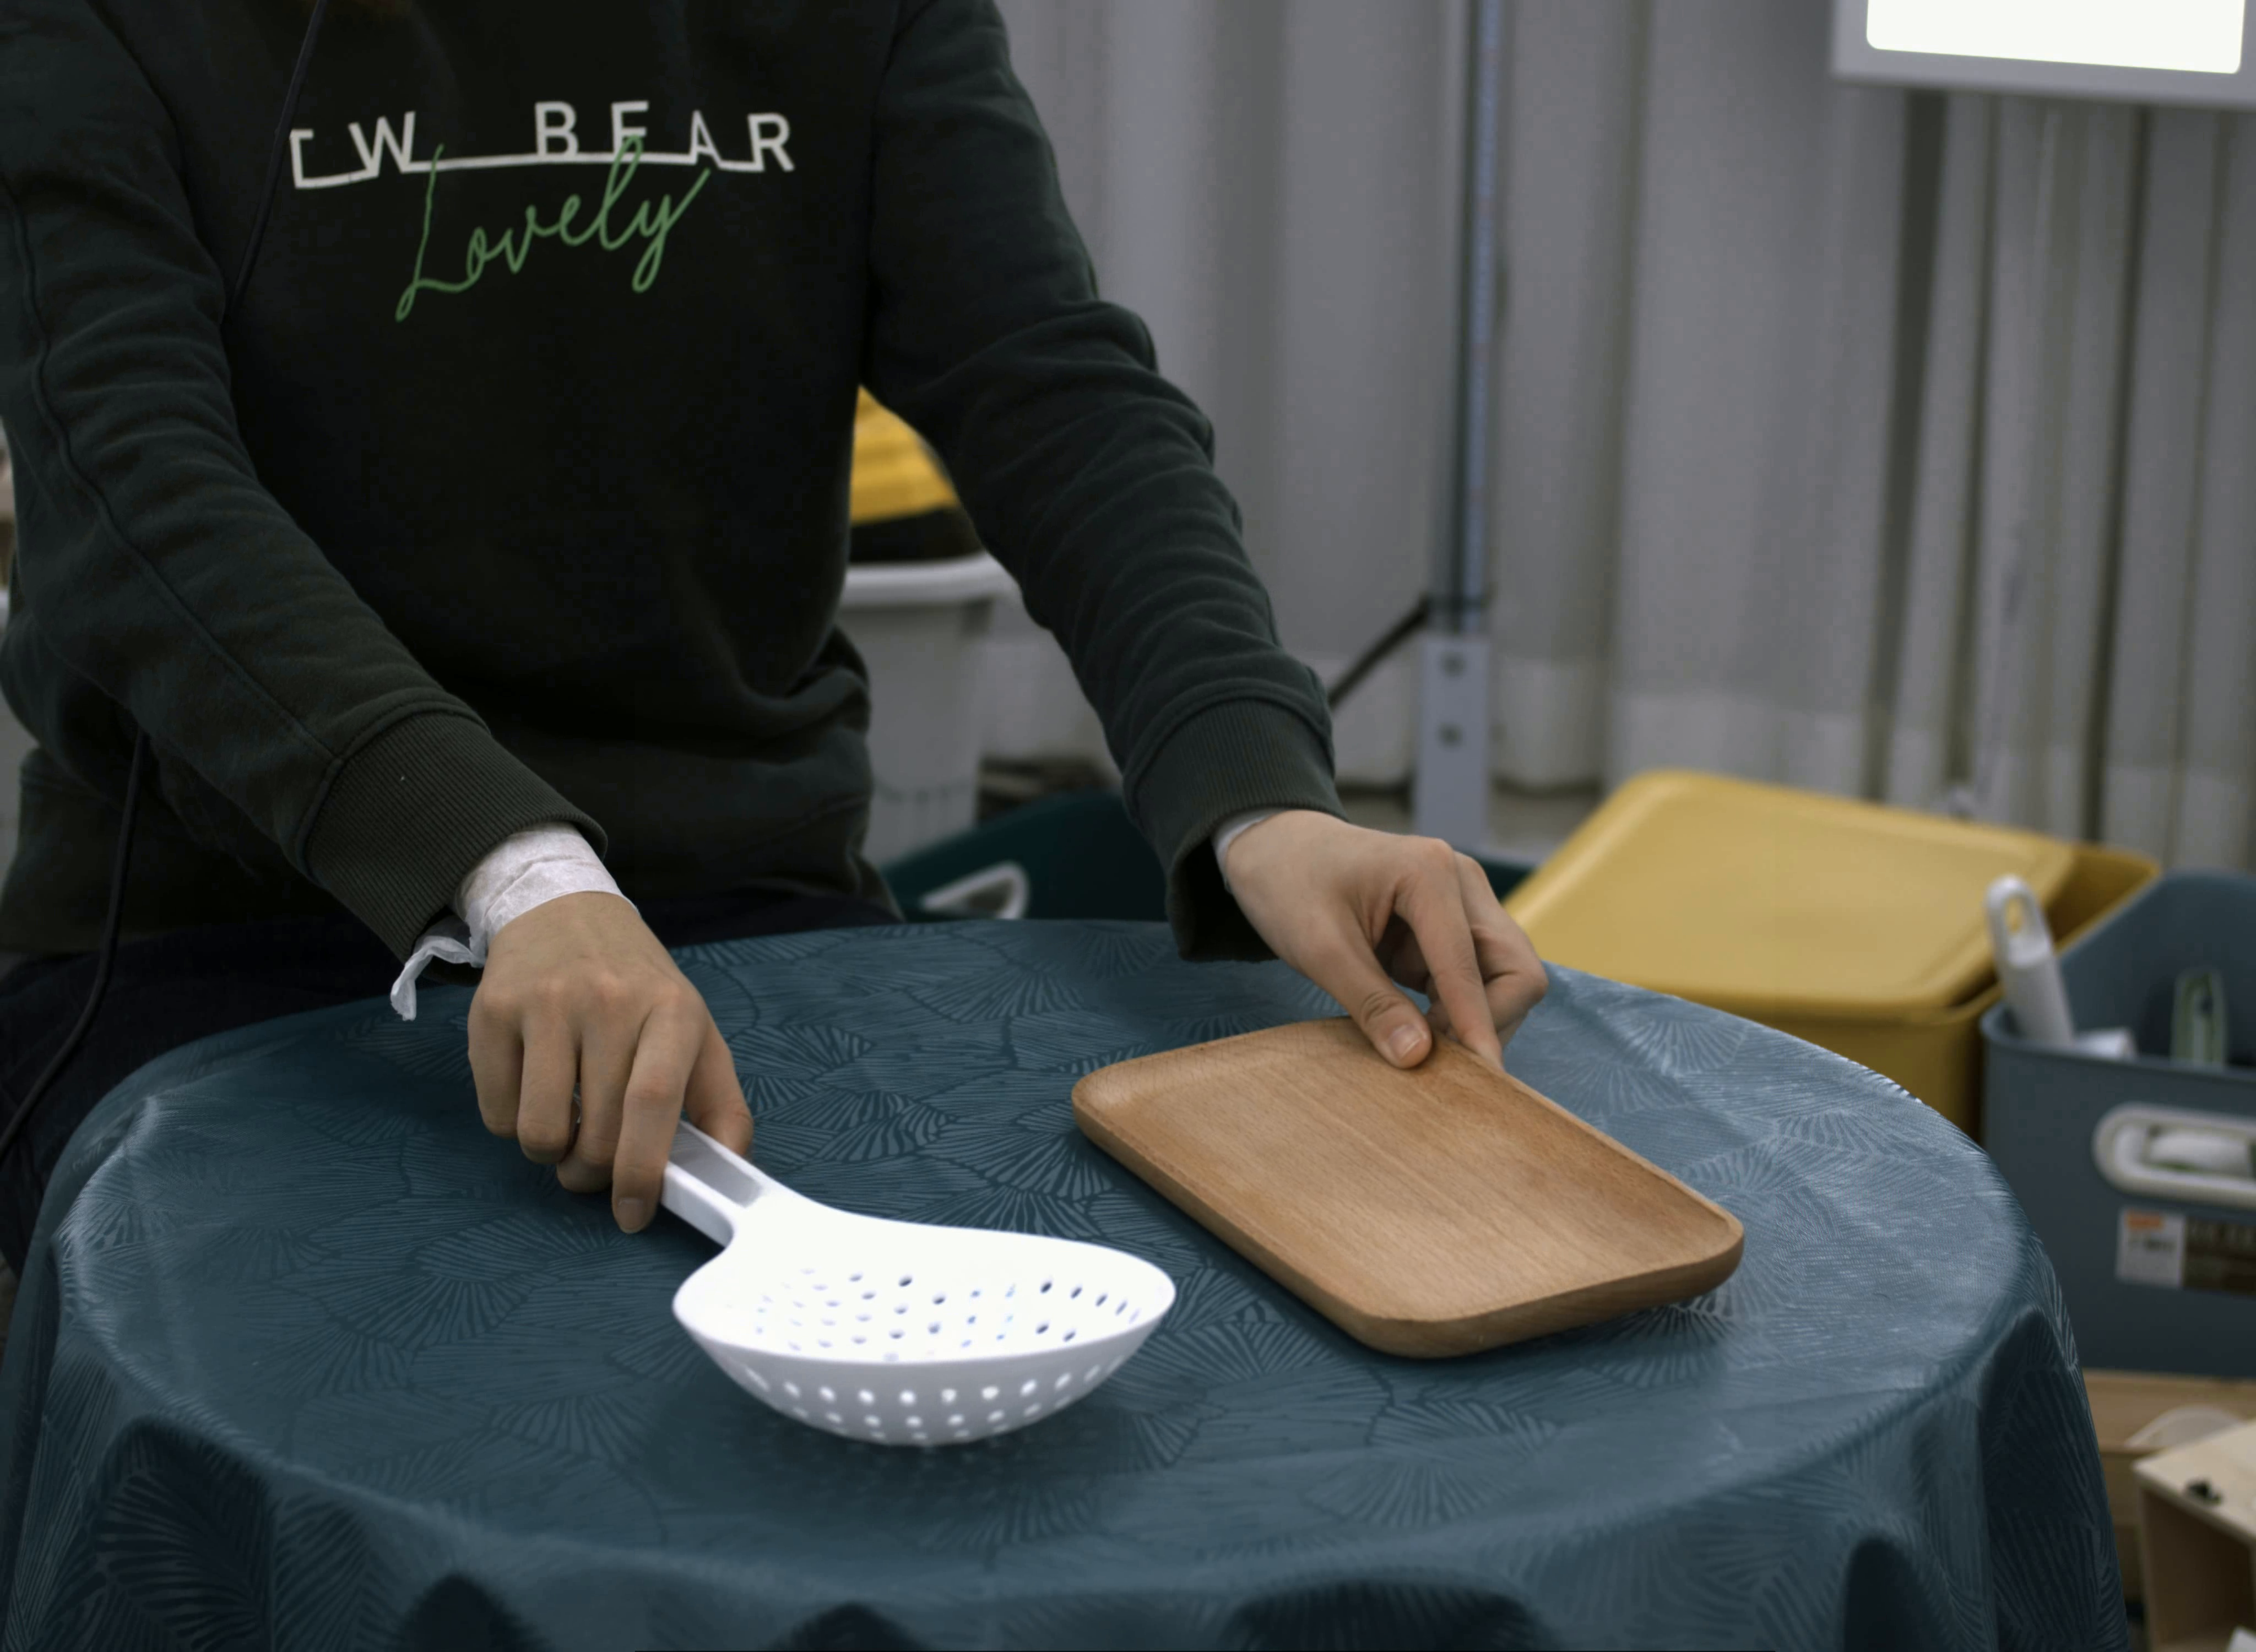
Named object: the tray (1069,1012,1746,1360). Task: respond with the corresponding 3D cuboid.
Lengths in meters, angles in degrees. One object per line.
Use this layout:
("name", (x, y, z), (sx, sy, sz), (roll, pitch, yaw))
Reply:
("tray", (0.081, 0.107, 1.605), (0.131, 0.023, 0.248), (-9, 17, -22))

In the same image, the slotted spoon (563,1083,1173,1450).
("slotted spoon", (-0.099, 0.117, 1.521), (0.136, 0.046, 0.345), (-4, 16, -24))
